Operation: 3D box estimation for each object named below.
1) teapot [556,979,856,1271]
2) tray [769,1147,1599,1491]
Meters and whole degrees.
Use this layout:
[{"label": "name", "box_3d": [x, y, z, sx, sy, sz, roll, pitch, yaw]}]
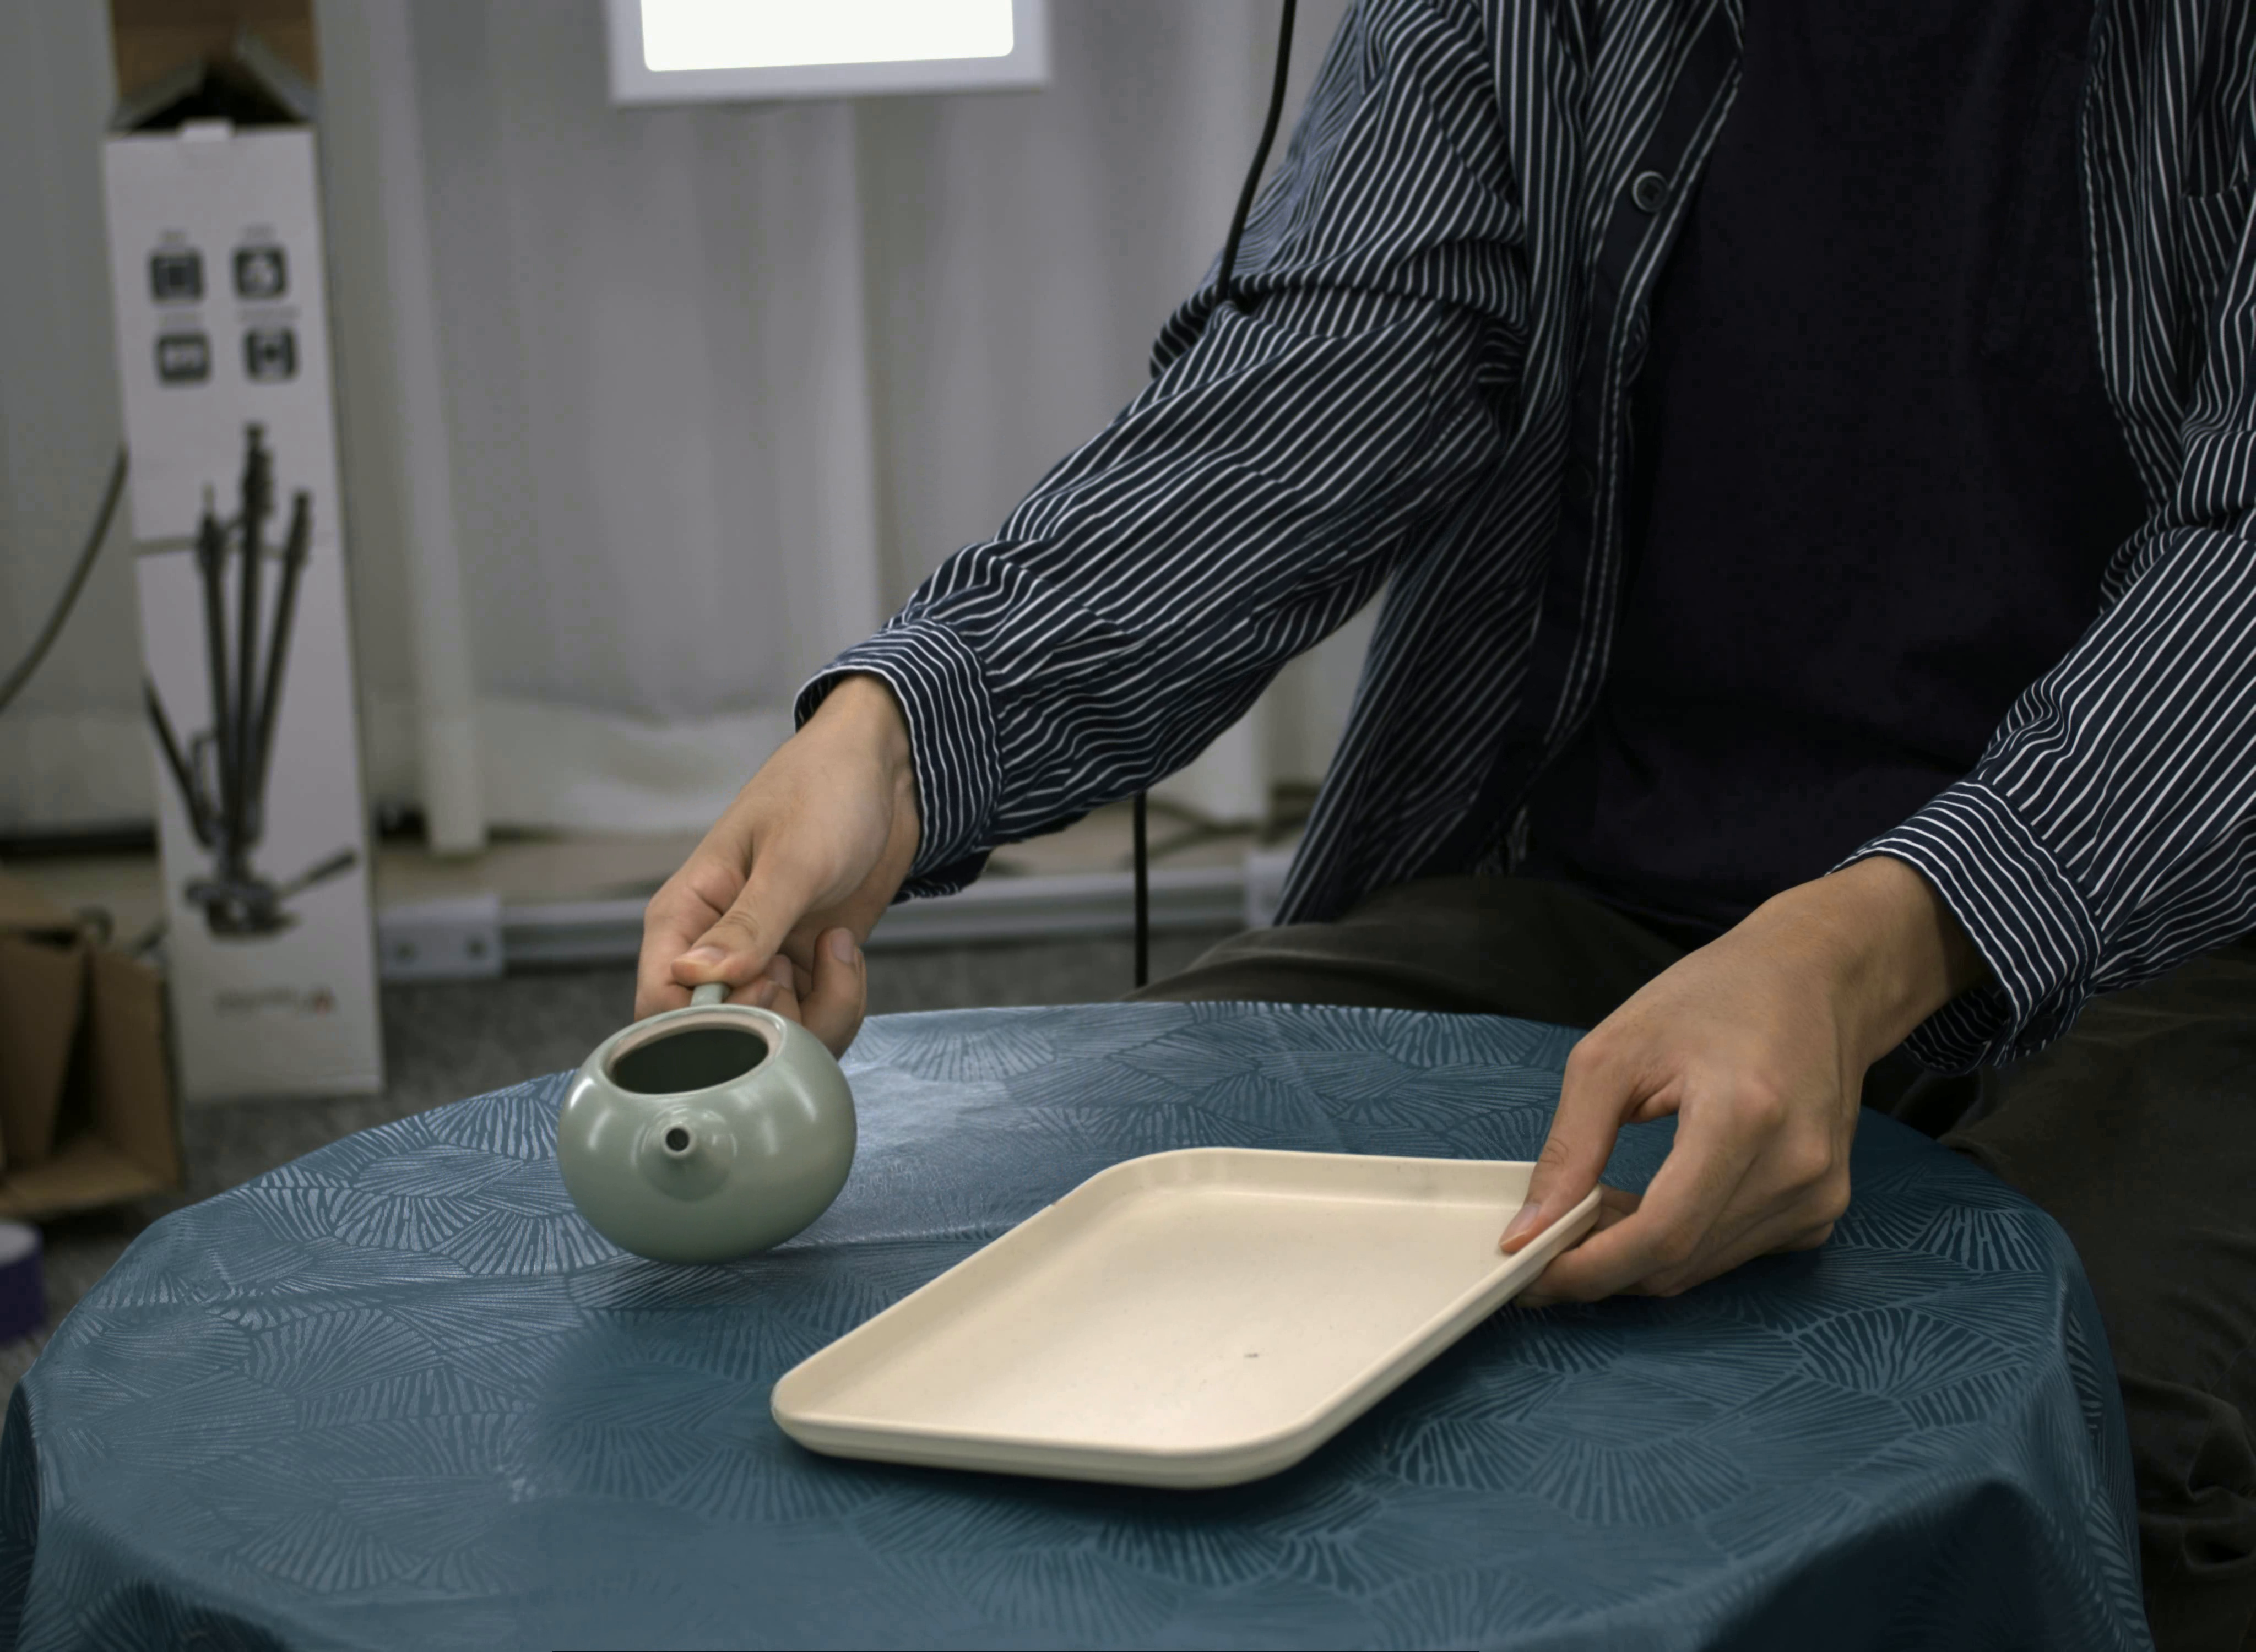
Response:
[{"label": "teapot", "box_3d": [-0.127, 0.091, 1.667, 0.091, 0.060, 0.130, -8, 23, 10]}, {"label": "tray", "box_3d": [0.020, 0.139, 1.564, 0.171, 0.017, 0.240, 2, 16, 30]}]
